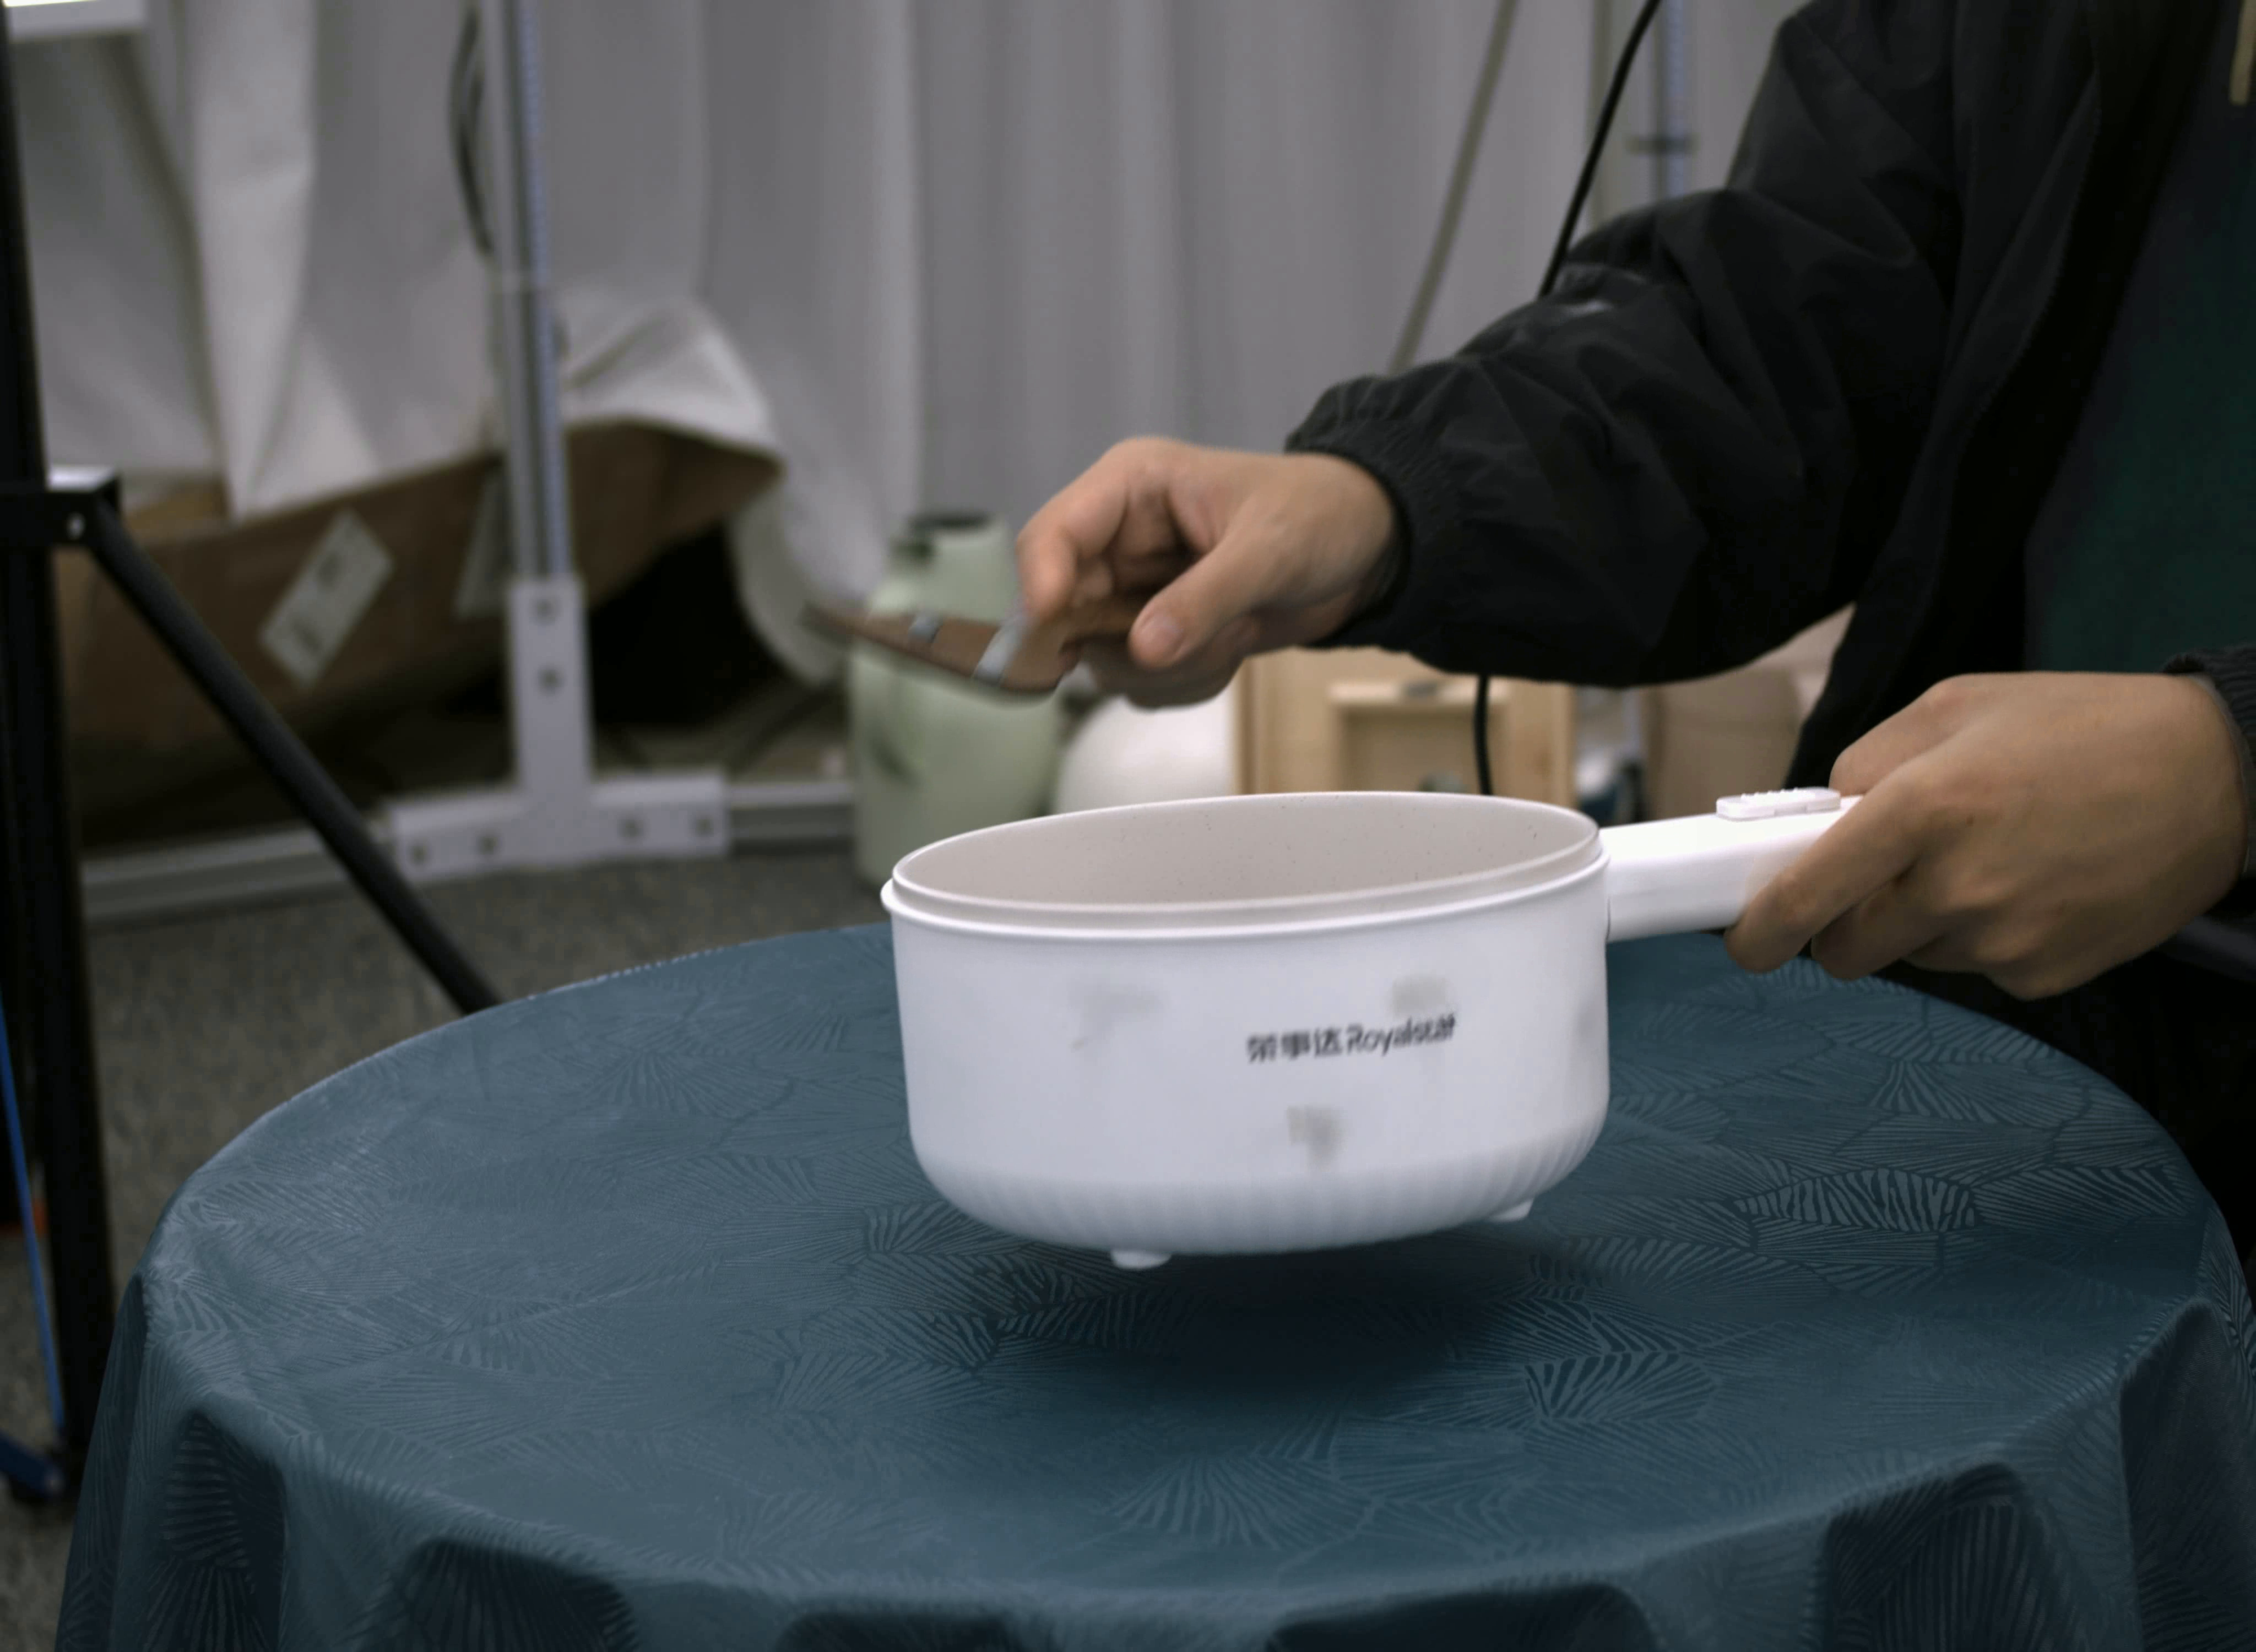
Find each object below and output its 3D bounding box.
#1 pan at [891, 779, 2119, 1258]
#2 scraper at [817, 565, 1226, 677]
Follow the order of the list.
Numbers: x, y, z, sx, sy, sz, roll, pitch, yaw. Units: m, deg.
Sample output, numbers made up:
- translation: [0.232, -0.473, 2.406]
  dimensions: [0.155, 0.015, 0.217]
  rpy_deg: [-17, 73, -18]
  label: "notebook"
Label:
- translation: [0.110, 0.049, 1.481]
  dimensions: [0.349, 0.102, 0.204]
  rpy_deg: [-4, 7, -15]
  label: "pan"
- translation: [-0.022, -0.066, 1.660]
  dimensions: [0.077, 0.011, 0.207]
  rpy_deg: [24, 14, 23]
  label: "scraper"
